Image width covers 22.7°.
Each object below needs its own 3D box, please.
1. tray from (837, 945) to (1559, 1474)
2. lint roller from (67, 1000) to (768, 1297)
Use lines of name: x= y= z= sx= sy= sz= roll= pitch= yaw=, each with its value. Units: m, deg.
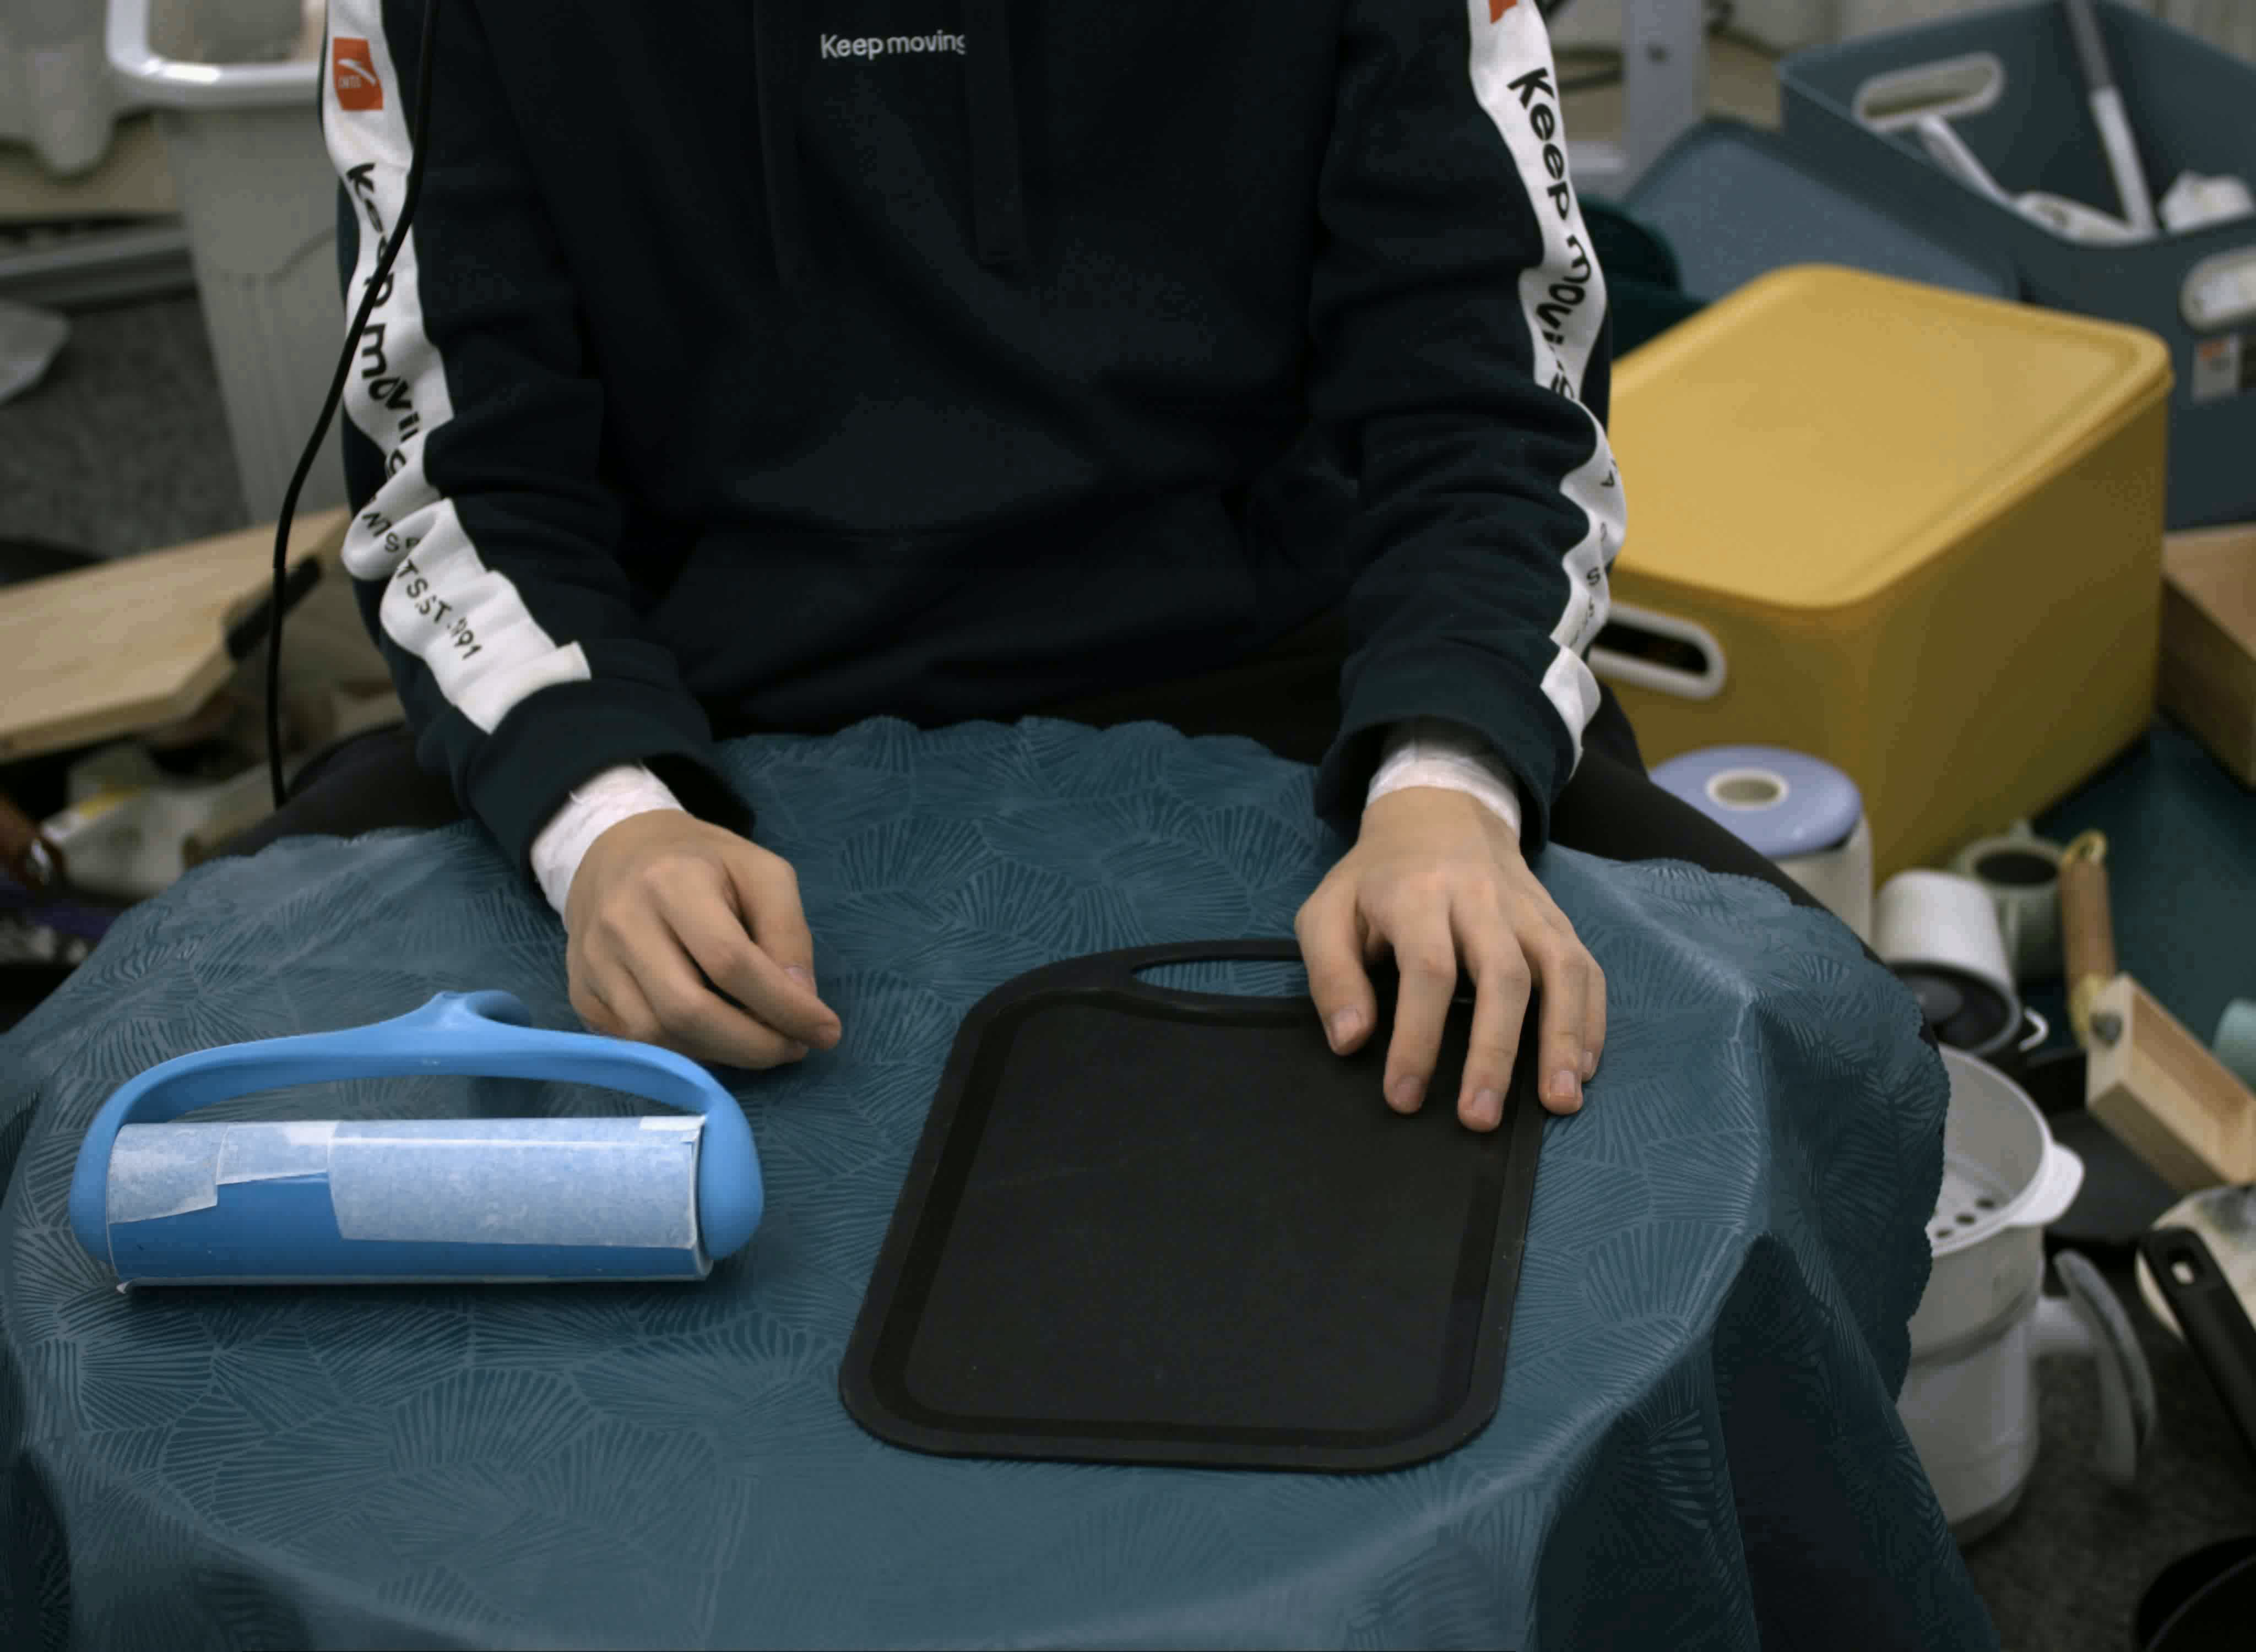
tray: x=0.029 y=0.118 z=1.858 sx=0.210 sy=0.009 sz=0.331 roll=2 pitch=28 yaw=9
lint roller: x=-0.229 y=0.094 z=1.875 sx=0.228 sy=0.067 sz=0.183 roll=-4 pitch=29 yaw=3
